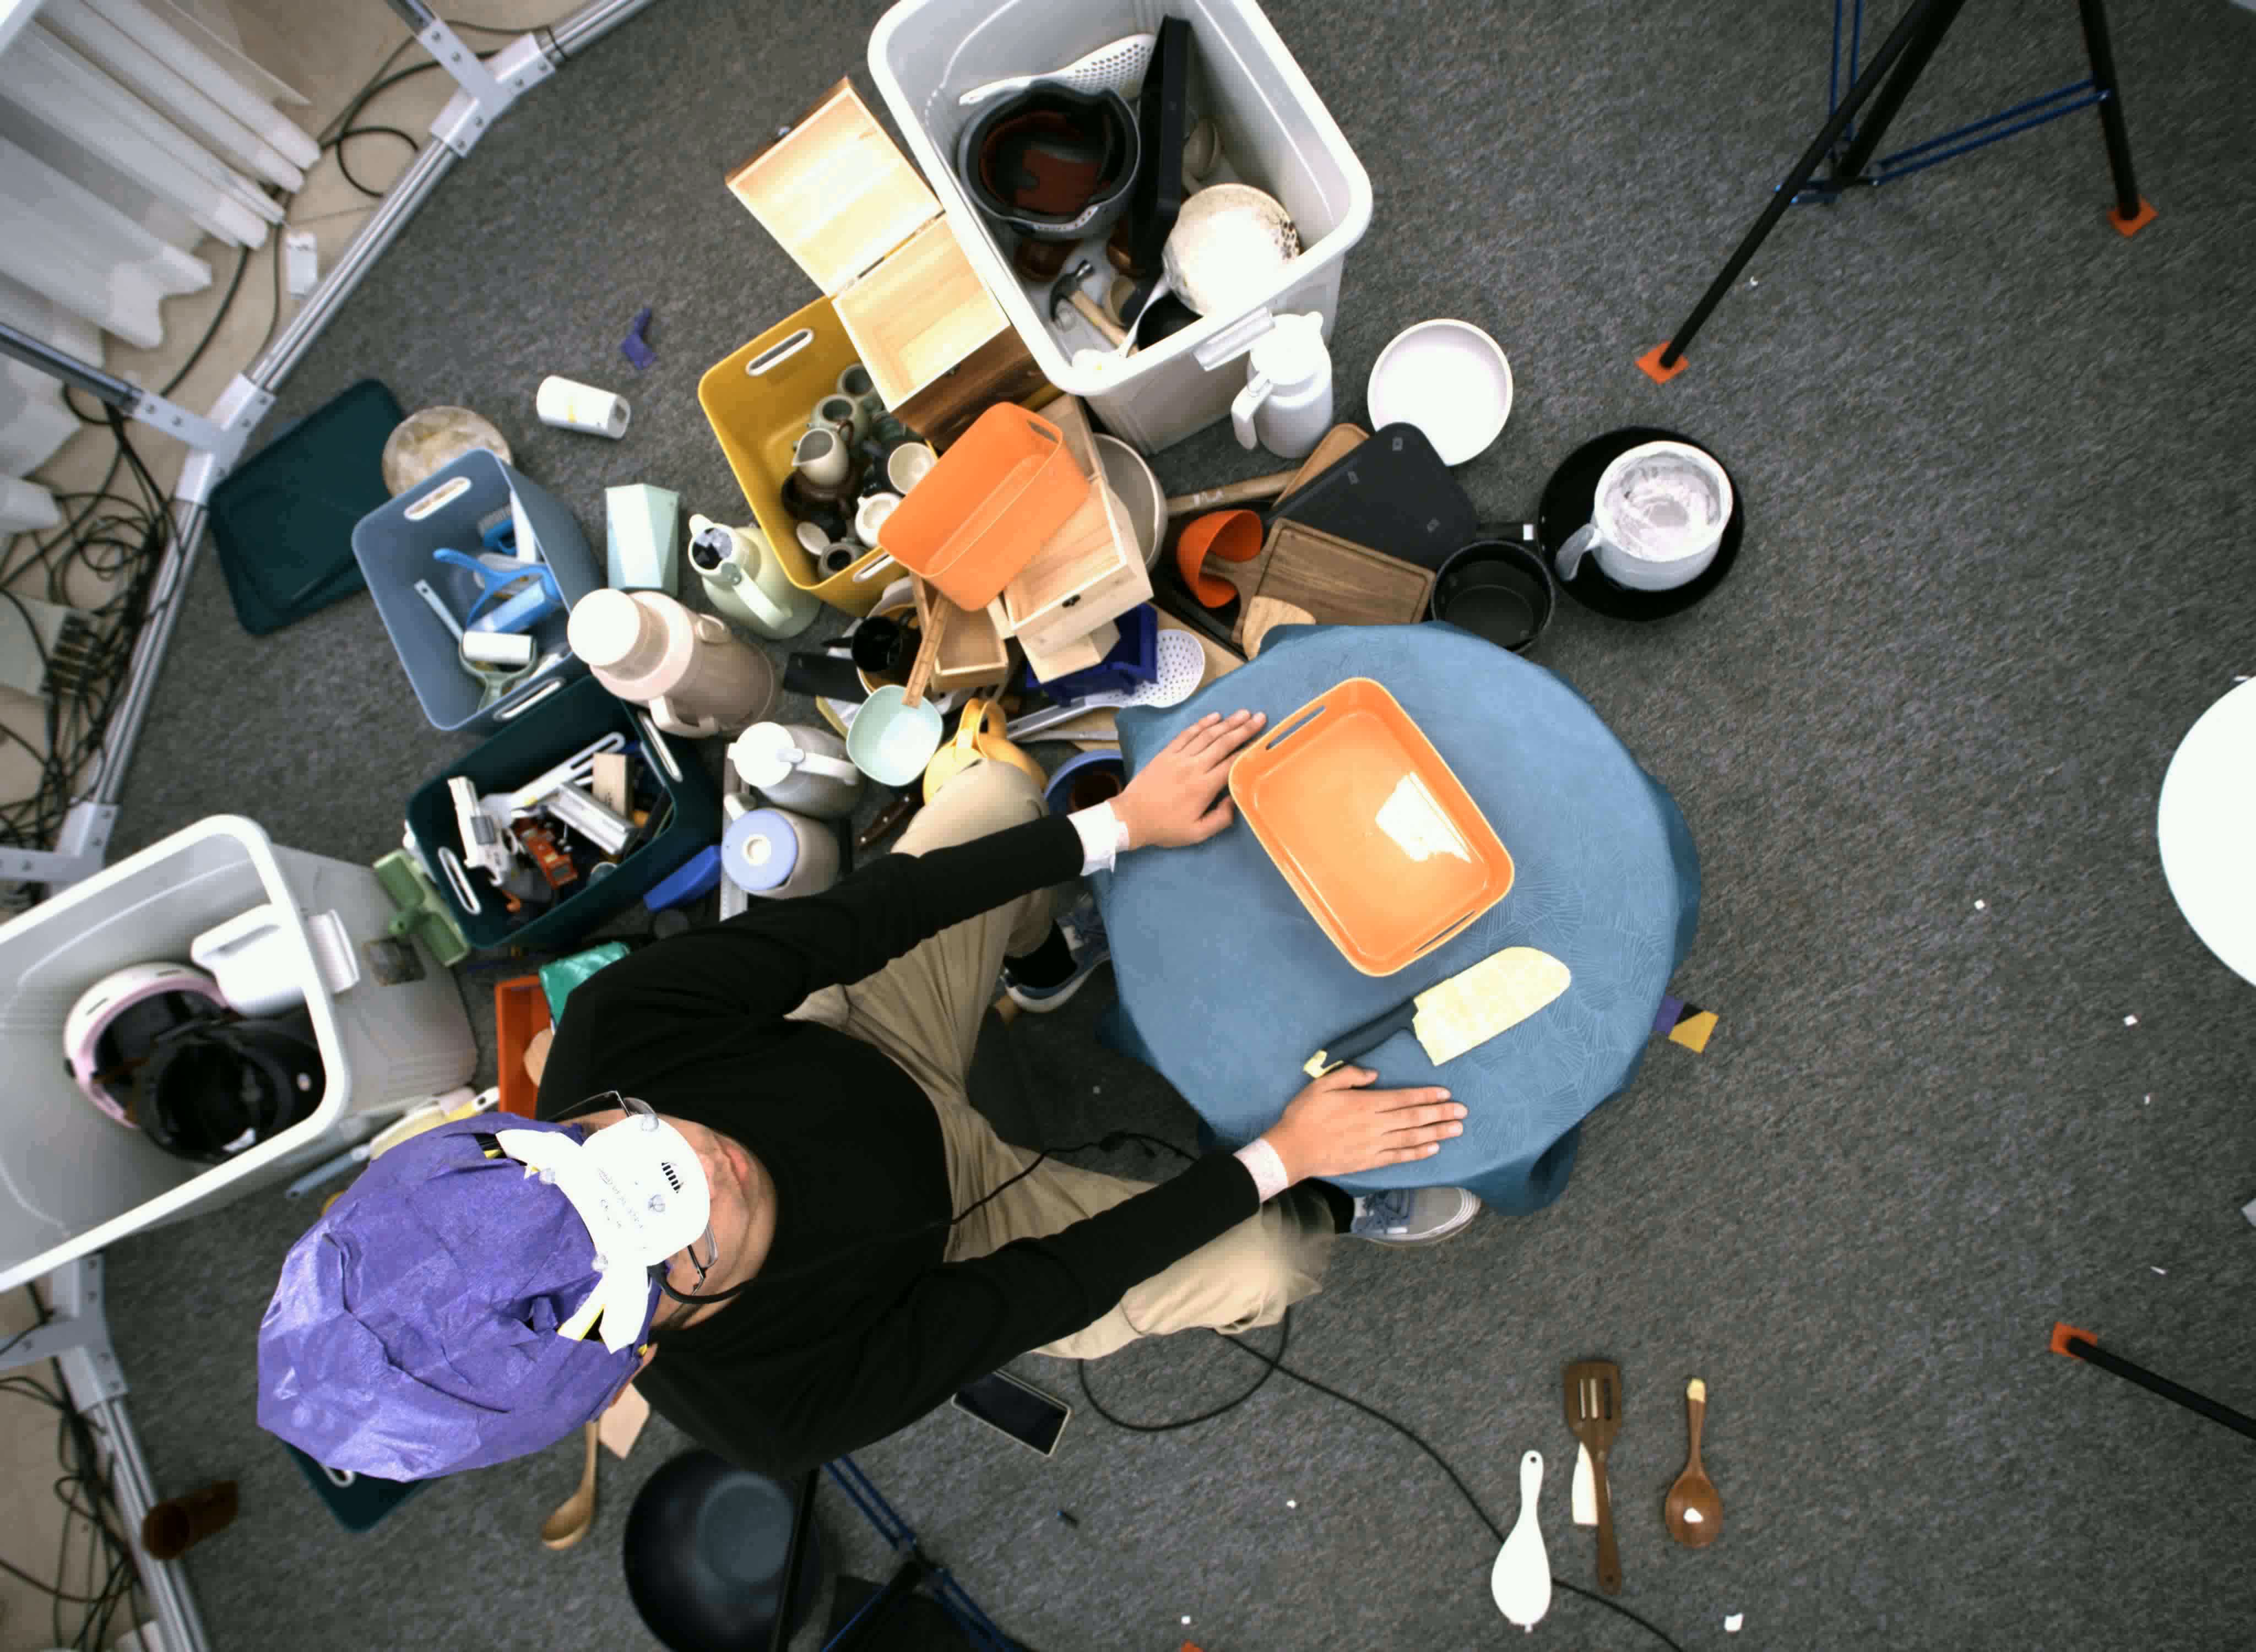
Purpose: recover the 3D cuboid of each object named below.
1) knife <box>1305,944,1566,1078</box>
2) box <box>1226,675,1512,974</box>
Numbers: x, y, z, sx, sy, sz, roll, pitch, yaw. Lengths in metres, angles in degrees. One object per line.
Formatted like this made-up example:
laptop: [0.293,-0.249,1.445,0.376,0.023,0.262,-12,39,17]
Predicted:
knife: [0.322,0.201,1.437,0.291,0.027,0.080,-26,80,7]
box: [0.244,0.003,1.416,0.200,0.102,0.271,-36,81,5]
